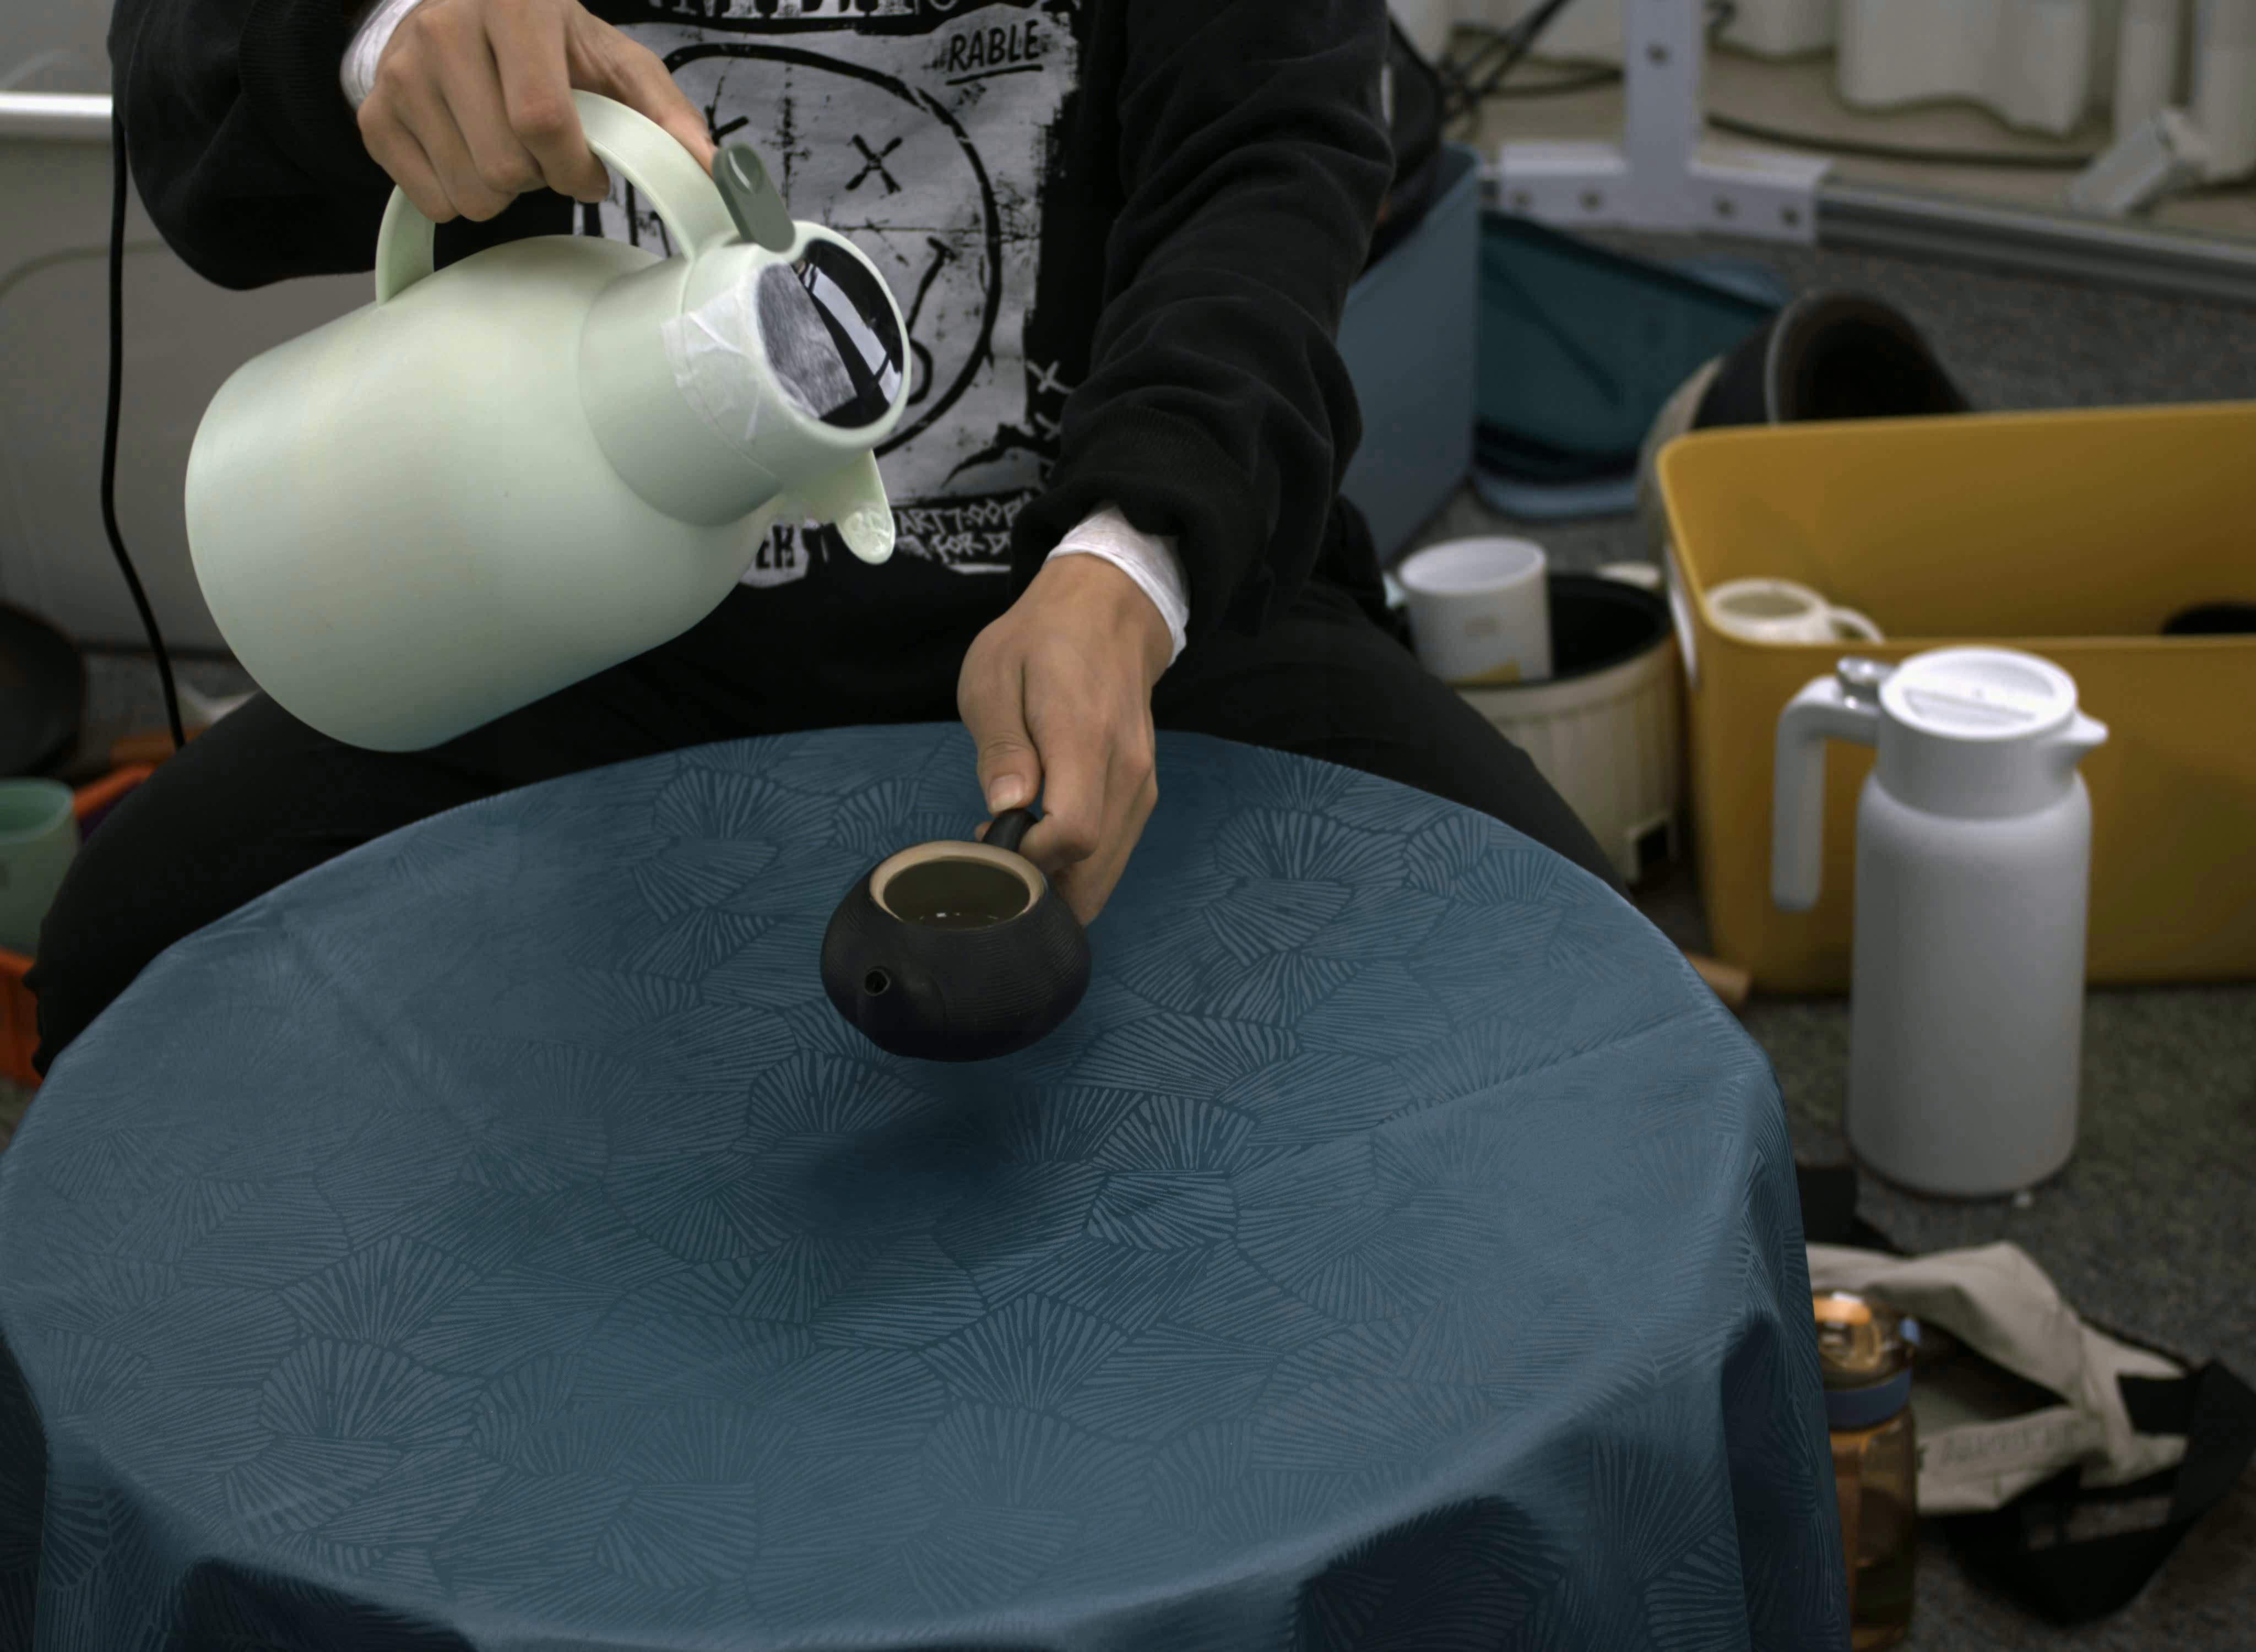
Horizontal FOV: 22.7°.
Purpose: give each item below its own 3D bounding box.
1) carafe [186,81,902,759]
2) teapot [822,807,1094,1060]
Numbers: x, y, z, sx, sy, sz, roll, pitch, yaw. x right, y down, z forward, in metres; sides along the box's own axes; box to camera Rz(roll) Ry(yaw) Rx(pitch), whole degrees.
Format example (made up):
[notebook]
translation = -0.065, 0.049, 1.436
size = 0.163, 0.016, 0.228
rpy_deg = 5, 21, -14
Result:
[carafe]
translation = -0.191, -0.136, 1.840
size = 0.253, 0.187, 0.146
rpy_deg = -26, 7, 41
[teapot]
translation = -0.056, 0.041, 1.862
size = 0.090, 0.052, 0.135
rpy_deg = 13, 32, 17
